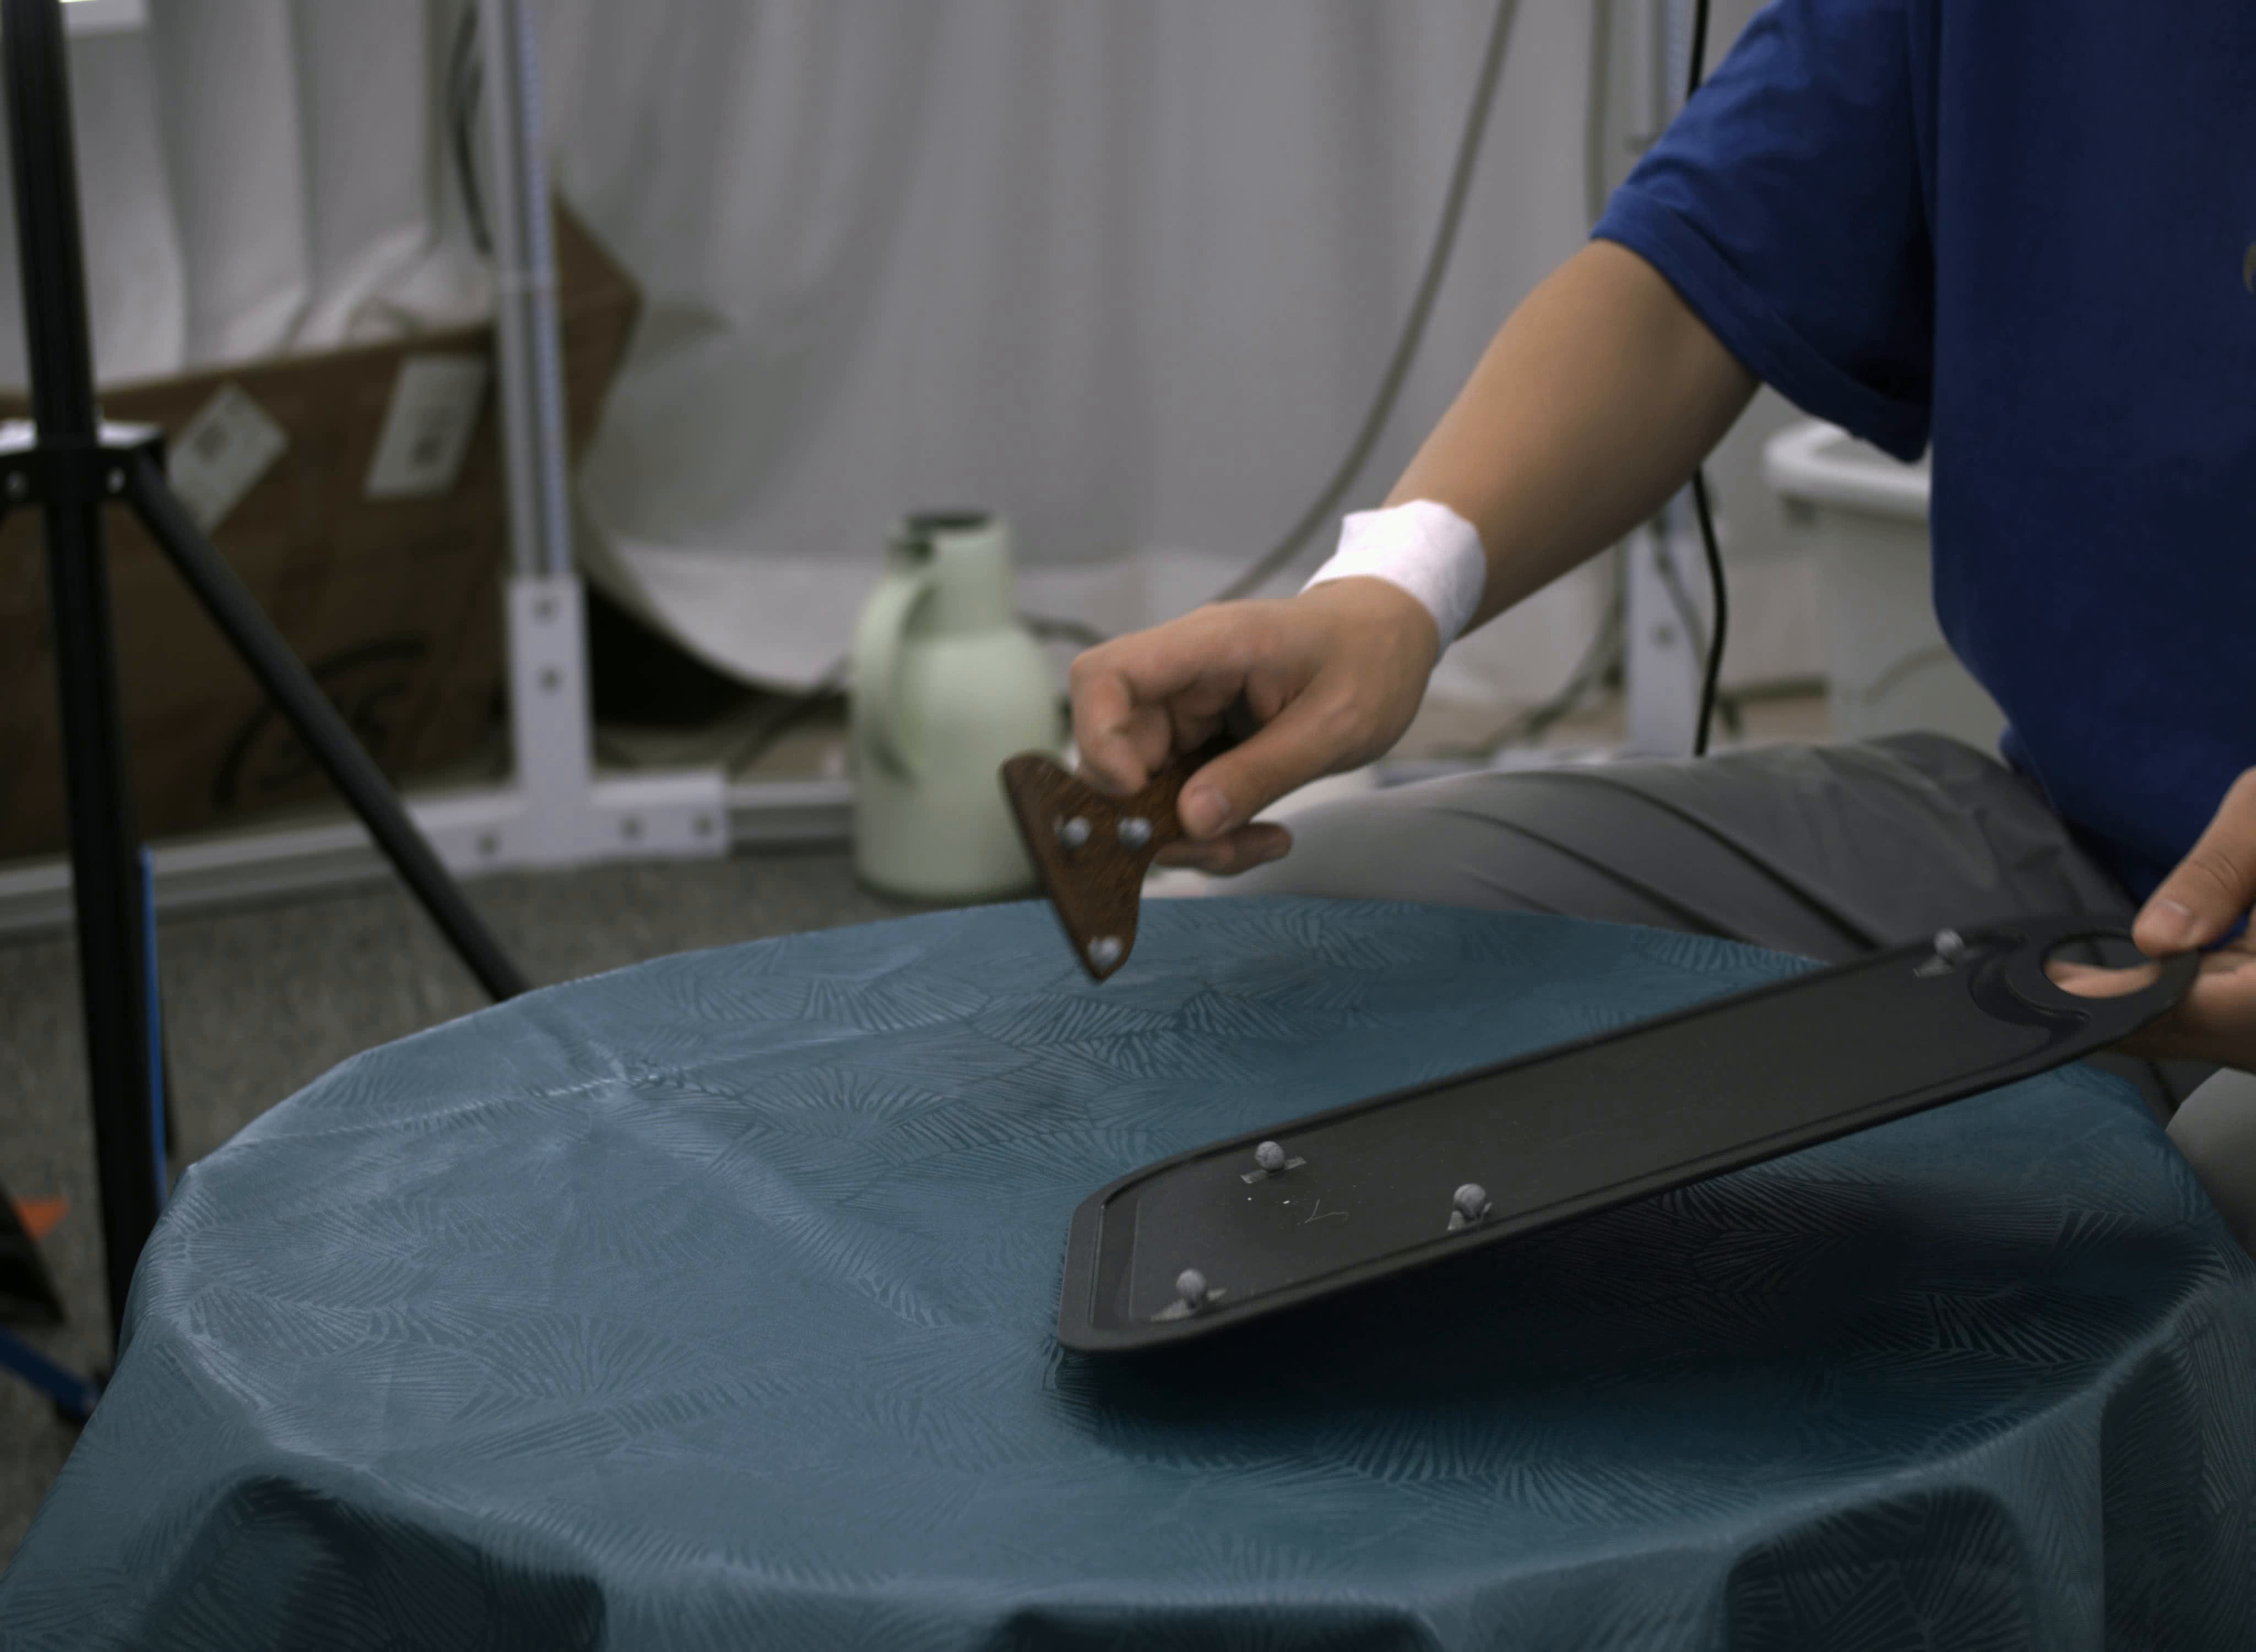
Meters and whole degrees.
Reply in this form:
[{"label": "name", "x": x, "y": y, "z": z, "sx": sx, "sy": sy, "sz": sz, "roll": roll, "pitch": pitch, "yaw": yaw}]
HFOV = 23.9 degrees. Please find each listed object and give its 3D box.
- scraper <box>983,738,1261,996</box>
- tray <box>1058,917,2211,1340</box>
[{"label": "scraper", "x": 0.004, "y": 0.002, "z": 1.673, "sx": 0.011, "sy": 0.076, "sz": 0.208, "roll": -27, "pitch": 0, "yaw": 23}, {"label": "tray", "x": 0.138, "y": 0.078, "z": 1.454, "sx": 0.325, "sy": 0.010, "sz": 0.211, "roll": -16, "pitch": 8, "yaw": 6}]
